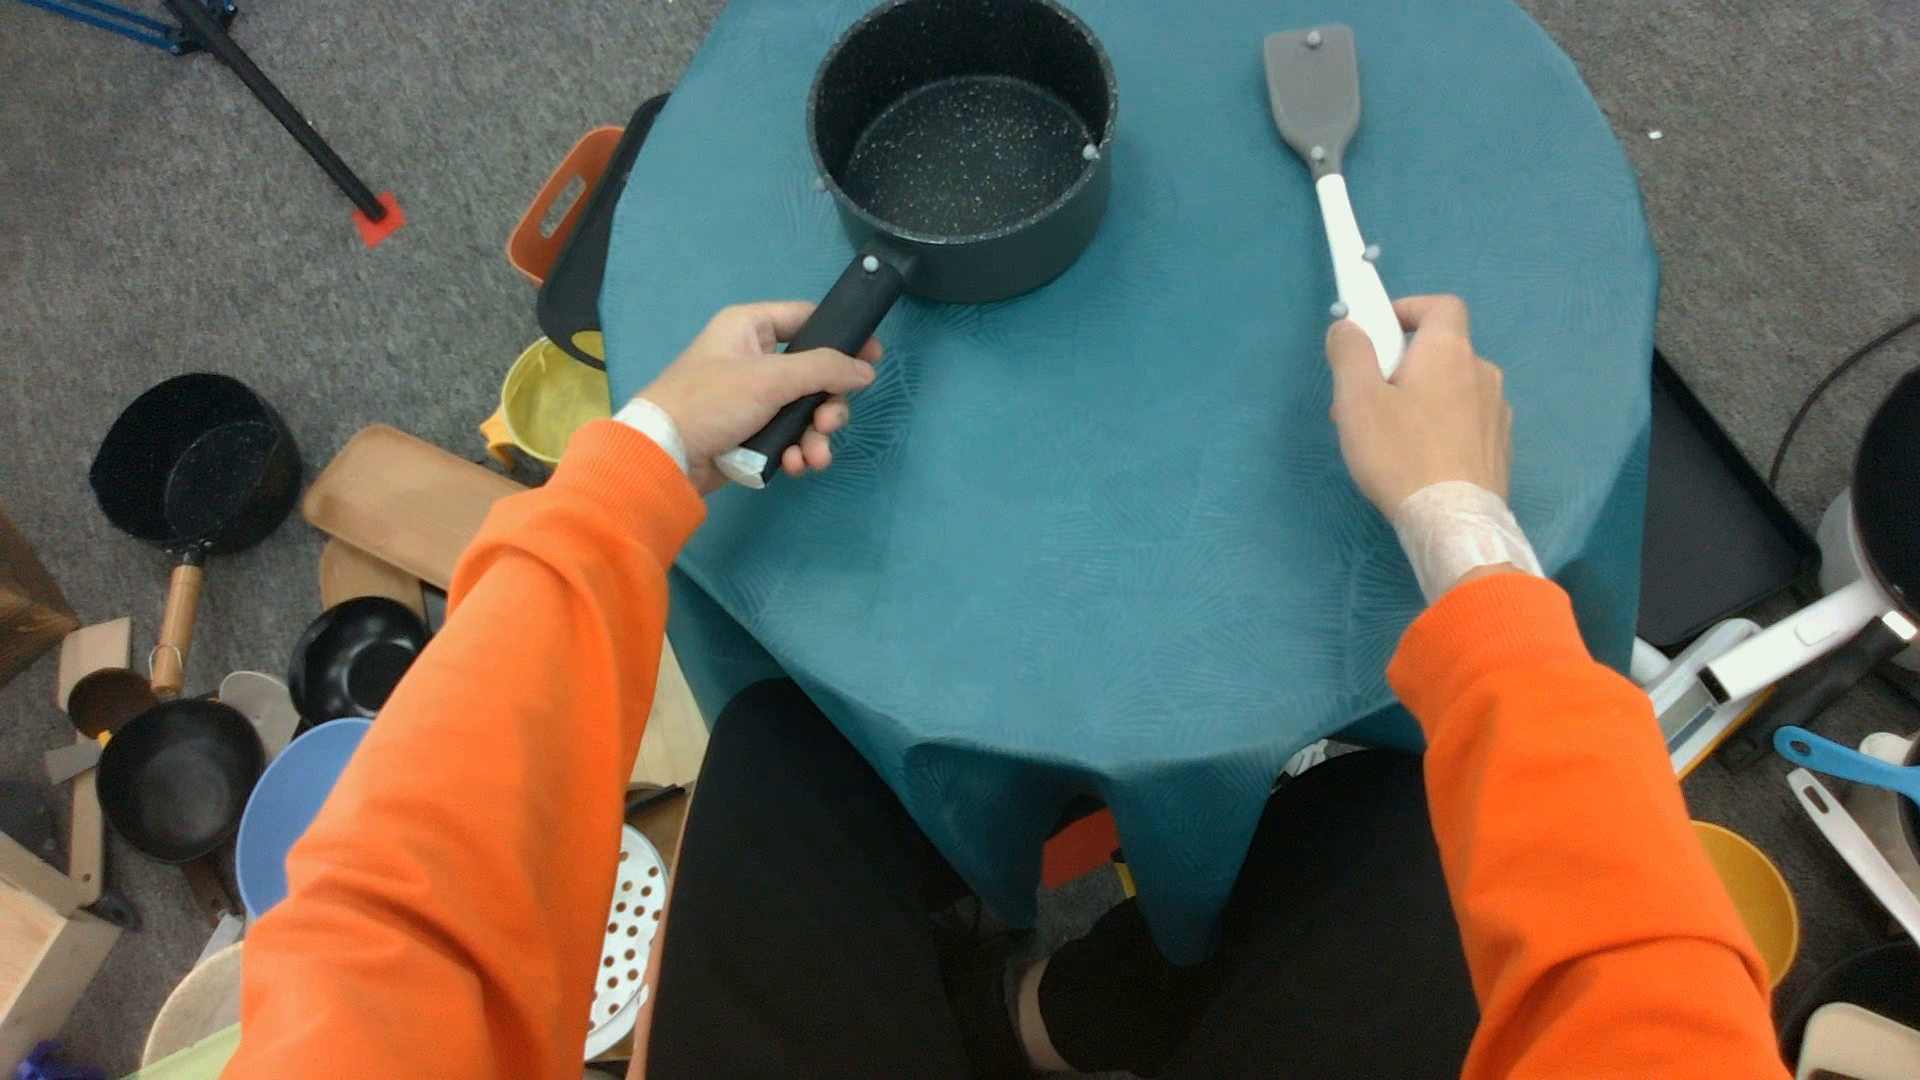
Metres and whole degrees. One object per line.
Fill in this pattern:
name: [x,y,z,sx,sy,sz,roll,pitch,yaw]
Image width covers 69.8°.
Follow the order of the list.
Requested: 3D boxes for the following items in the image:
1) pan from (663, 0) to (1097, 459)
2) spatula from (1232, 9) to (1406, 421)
pan: [-0.048,-0.168,0.758,0.172,0.086,0.330,27,72,15]
spatula: [0.198,-0.190,0.761,0.058,0.032,0.289,-9,58,9]
